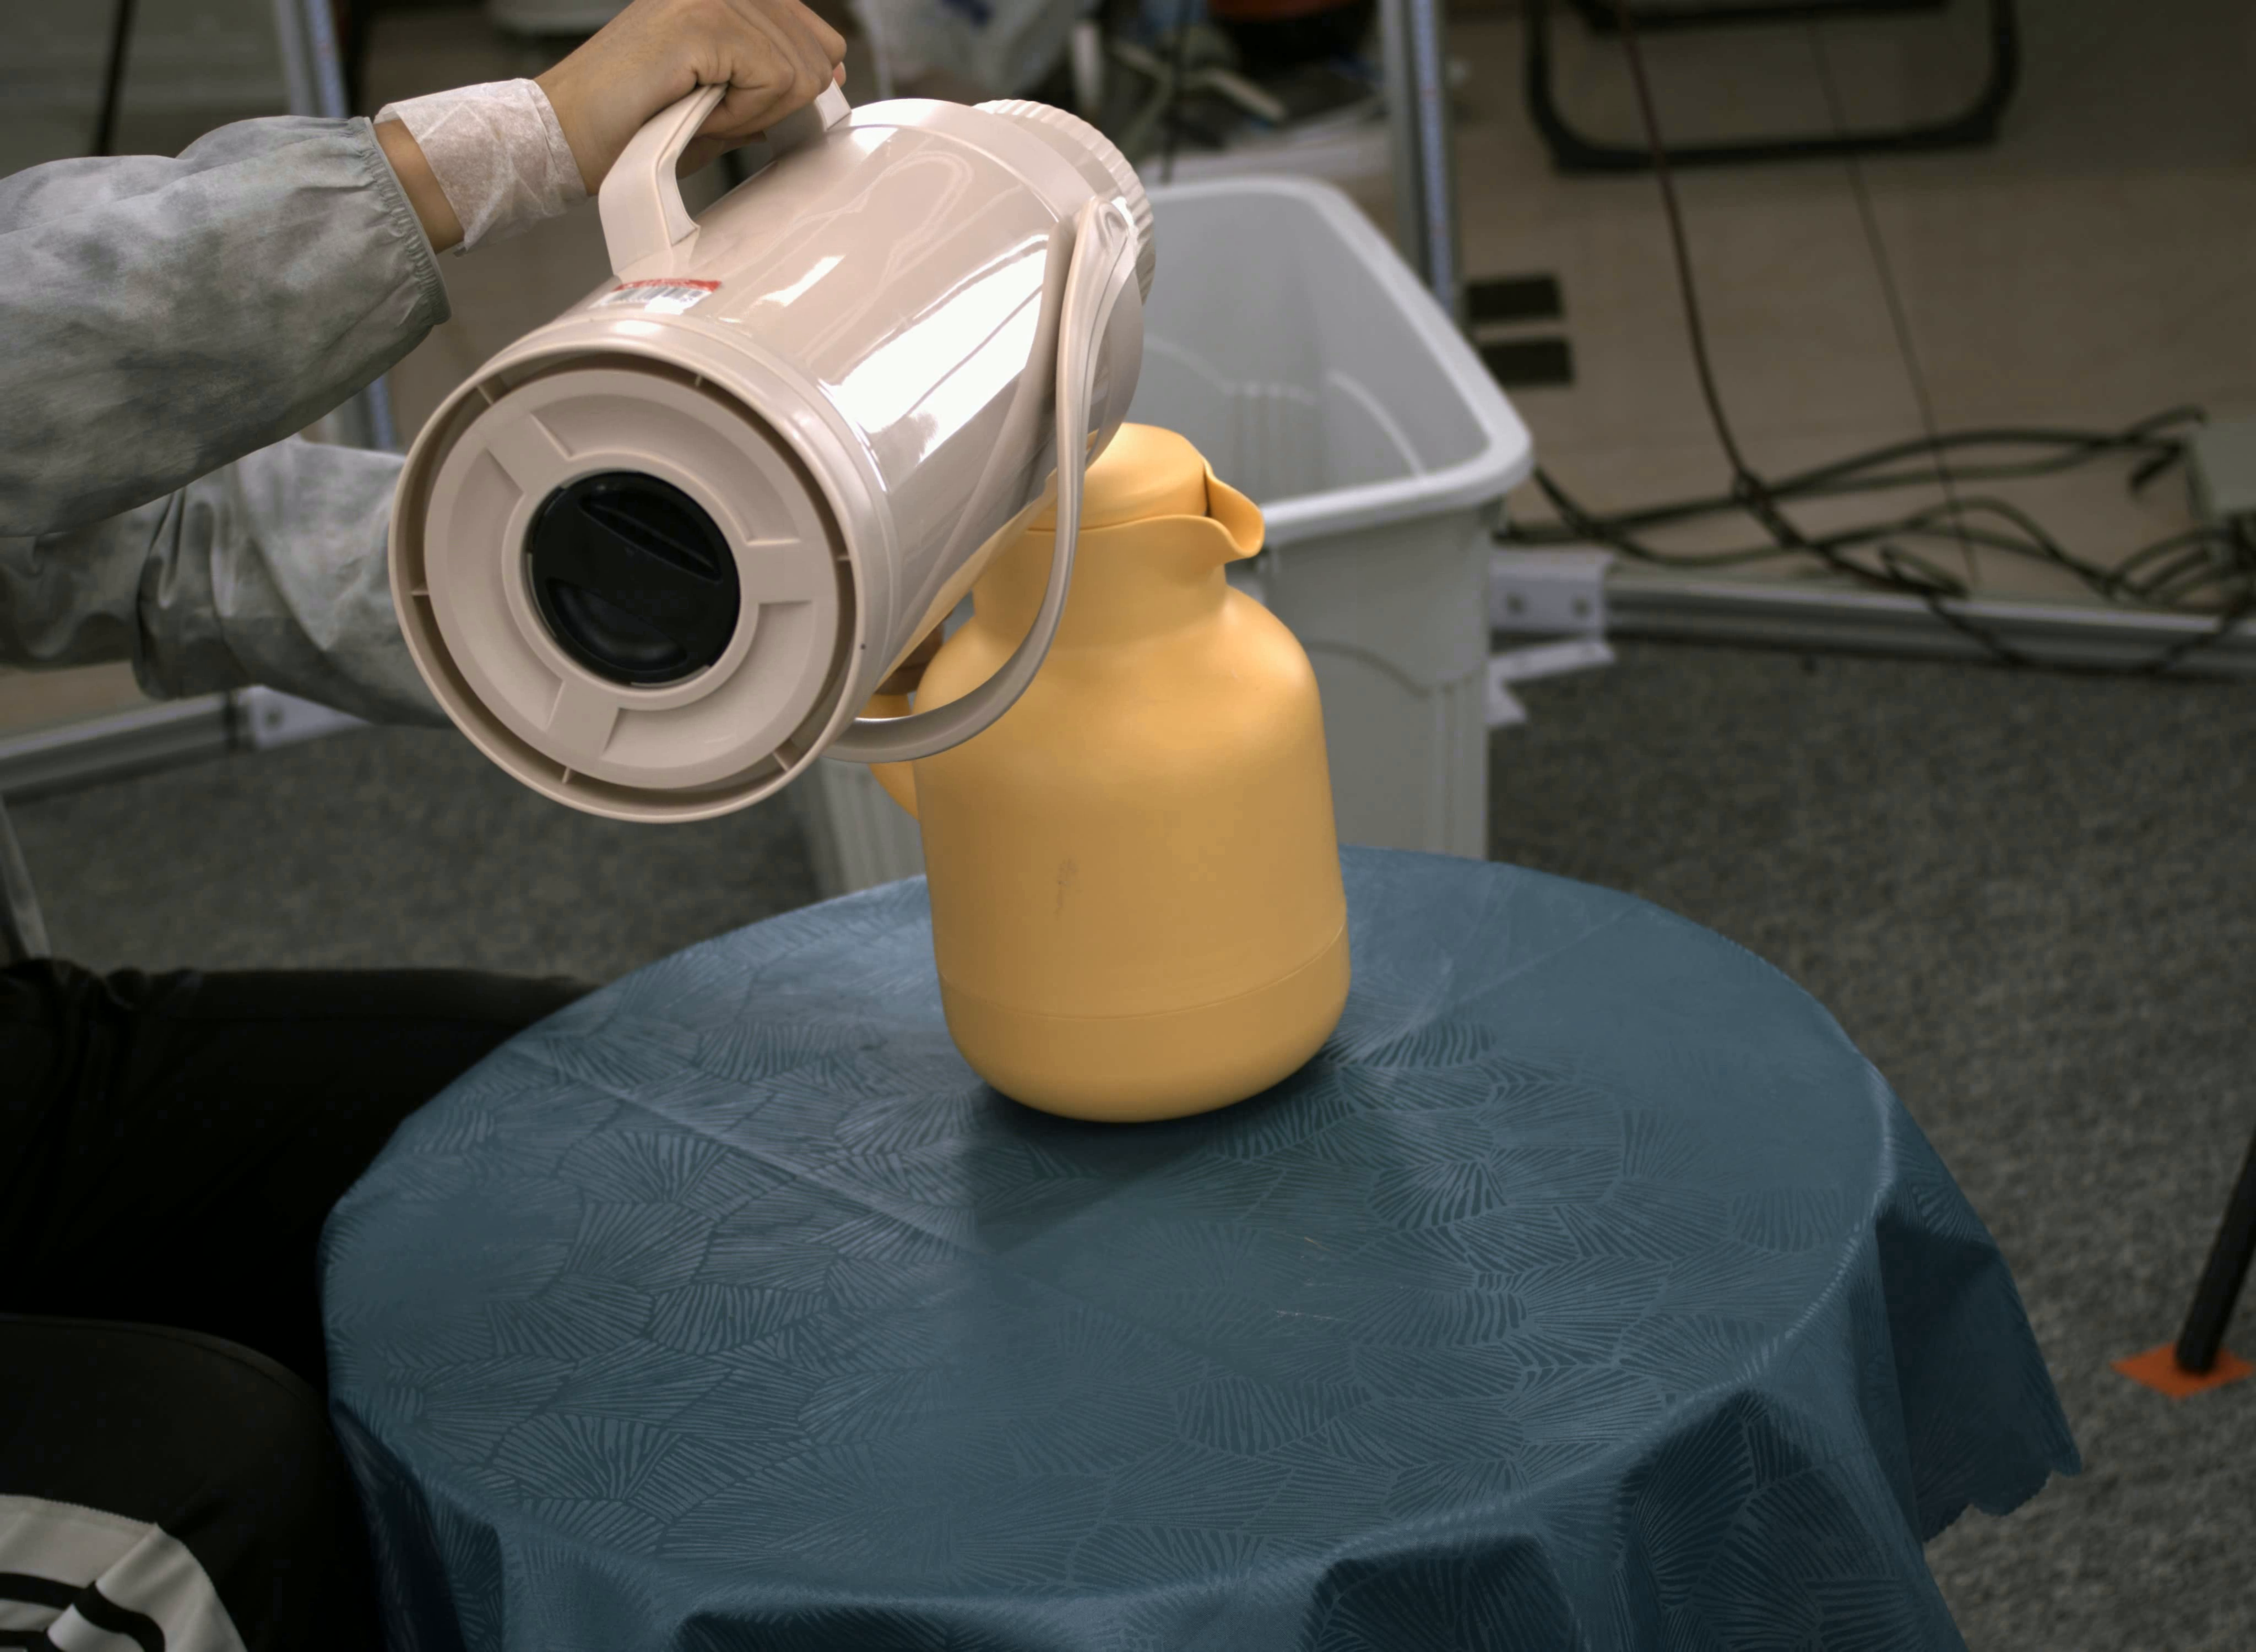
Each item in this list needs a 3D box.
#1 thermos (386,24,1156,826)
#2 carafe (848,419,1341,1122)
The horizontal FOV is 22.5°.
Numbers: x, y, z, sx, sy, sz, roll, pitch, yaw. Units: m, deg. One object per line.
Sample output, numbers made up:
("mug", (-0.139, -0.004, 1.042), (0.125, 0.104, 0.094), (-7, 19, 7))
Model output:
("thermos", (-0.107, -0.158, 1.917), (0.176, 0.209, 0.401), (-22, 14, 27))
("carafe", (-0.019, -0.030, 2.203), (0.201, 0.264, 0.162), (13, 30, 33))
